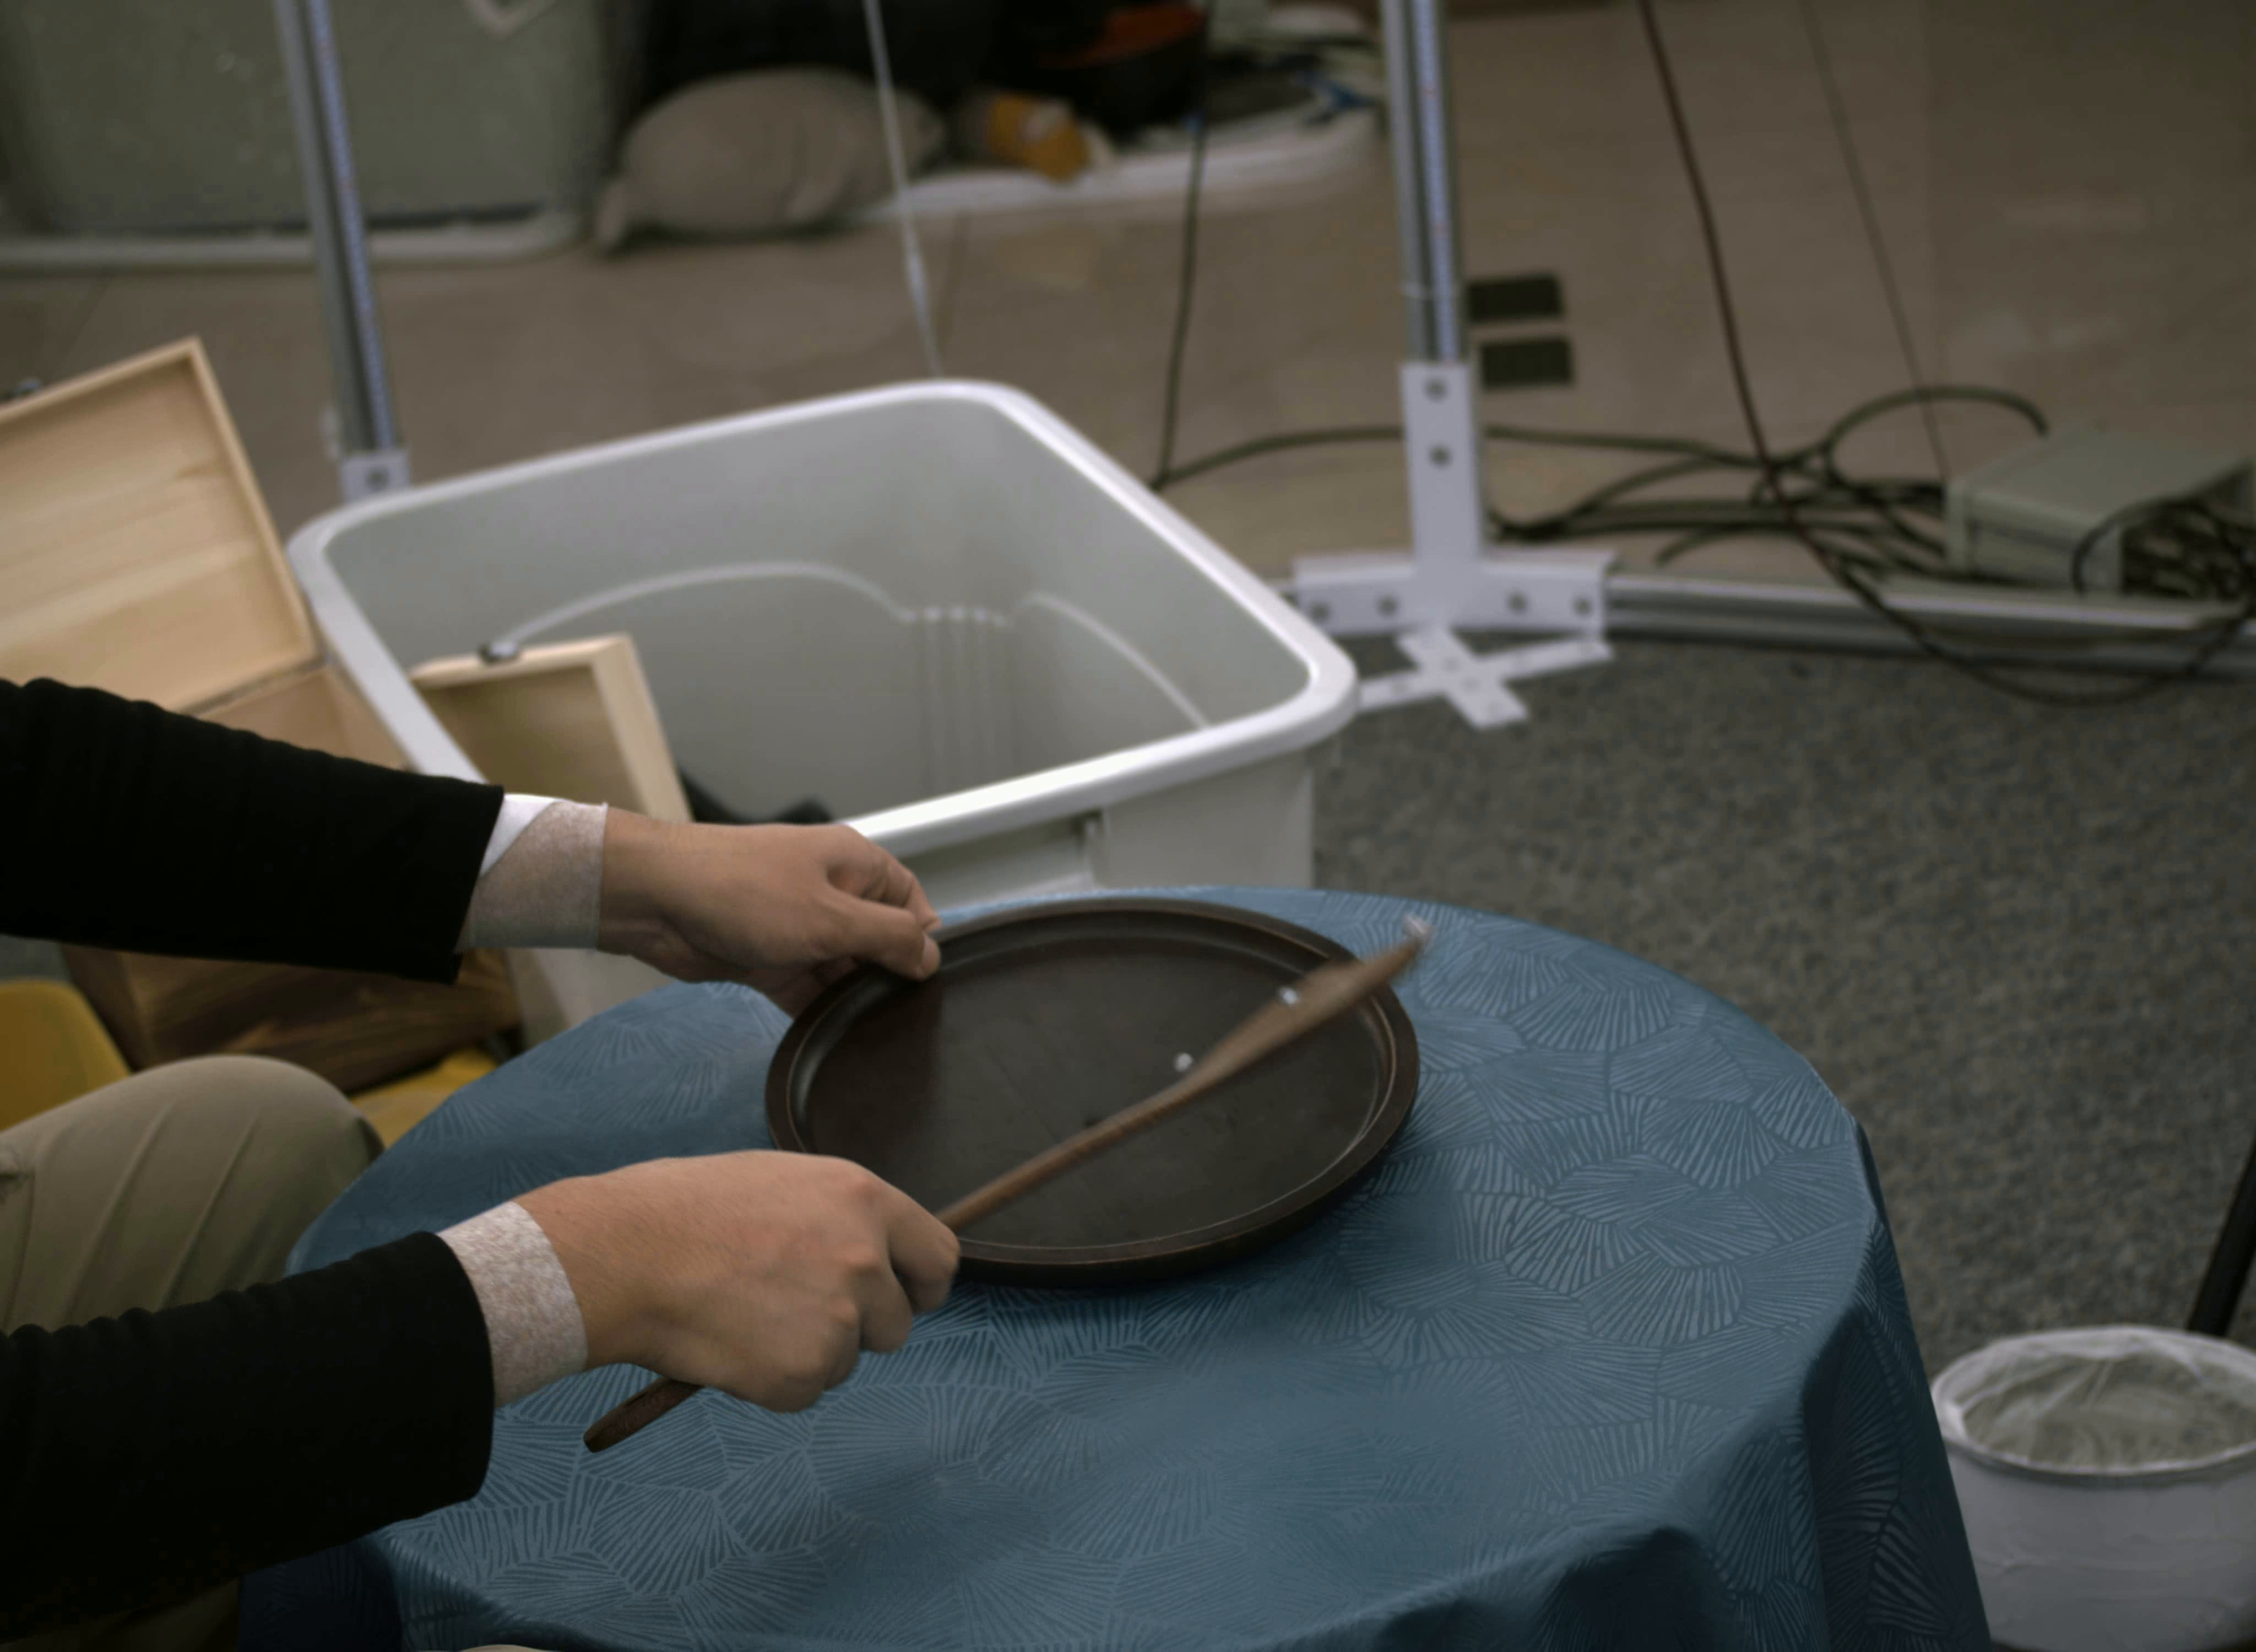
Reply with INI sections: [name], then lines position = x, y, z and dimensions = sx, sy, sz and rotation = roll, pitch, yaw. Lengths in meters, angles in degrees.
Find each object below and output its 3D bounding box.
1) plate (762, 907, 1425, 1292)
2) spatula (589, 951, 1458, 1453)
[plate]
position = -0.013, 0.103, 2.172
dimensions = 0.254, 0.029, 0.250
rotation = -2, 32, 2
[spatula]
position = -0.035, 0.128, 1.974
dimensions = 0.383, 0.016, 0.096
rotation = -27, 2, -33
